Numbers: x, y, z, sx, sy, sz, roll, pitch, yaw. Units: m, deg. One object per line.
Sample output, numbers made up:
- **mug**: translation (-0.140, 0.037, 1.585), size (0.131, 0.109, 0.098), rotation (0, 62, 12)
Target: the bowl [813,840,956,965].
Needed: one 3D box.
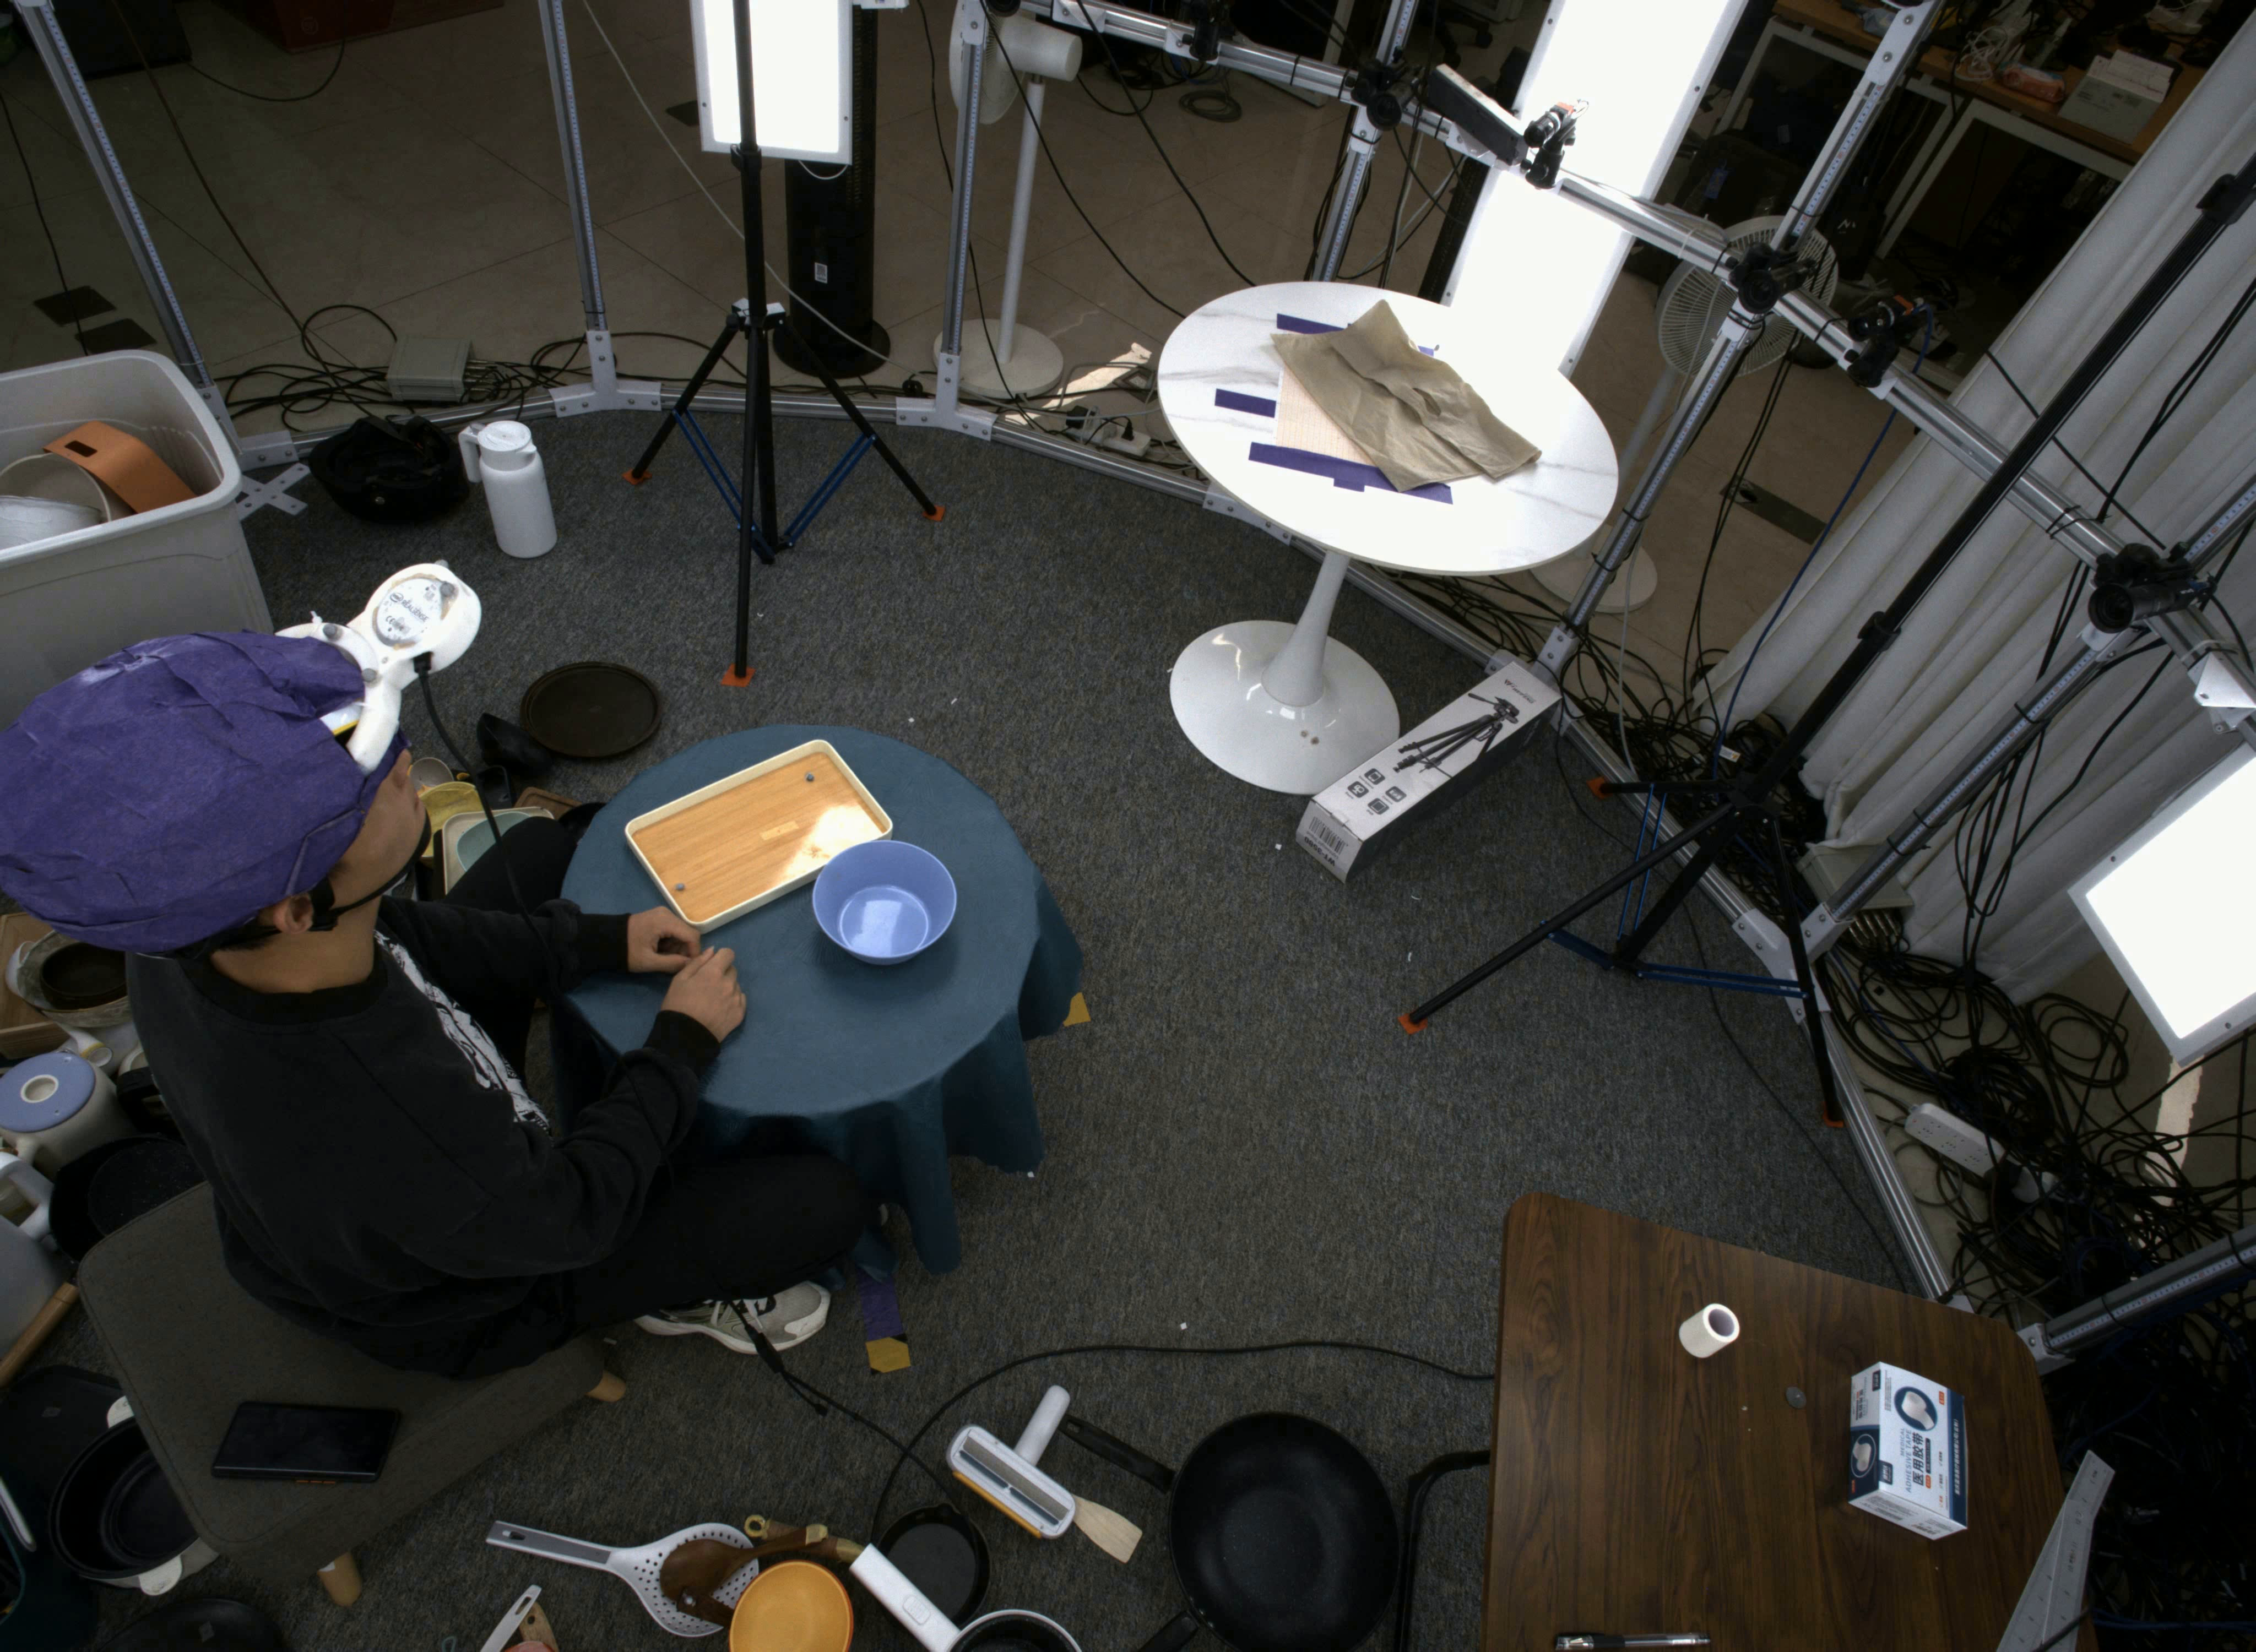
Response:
- **bowl**: translation (-0.305, 0.106, 1.635), size (0.175, 0.072, 0.173), rotation (8, 51, -8)

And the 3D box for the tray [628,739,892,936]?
- **tray**: translation (-0.479, 0.008, 1.692), size (0.301, 0.028, 0.187), rotation (-29, 66, -31)
